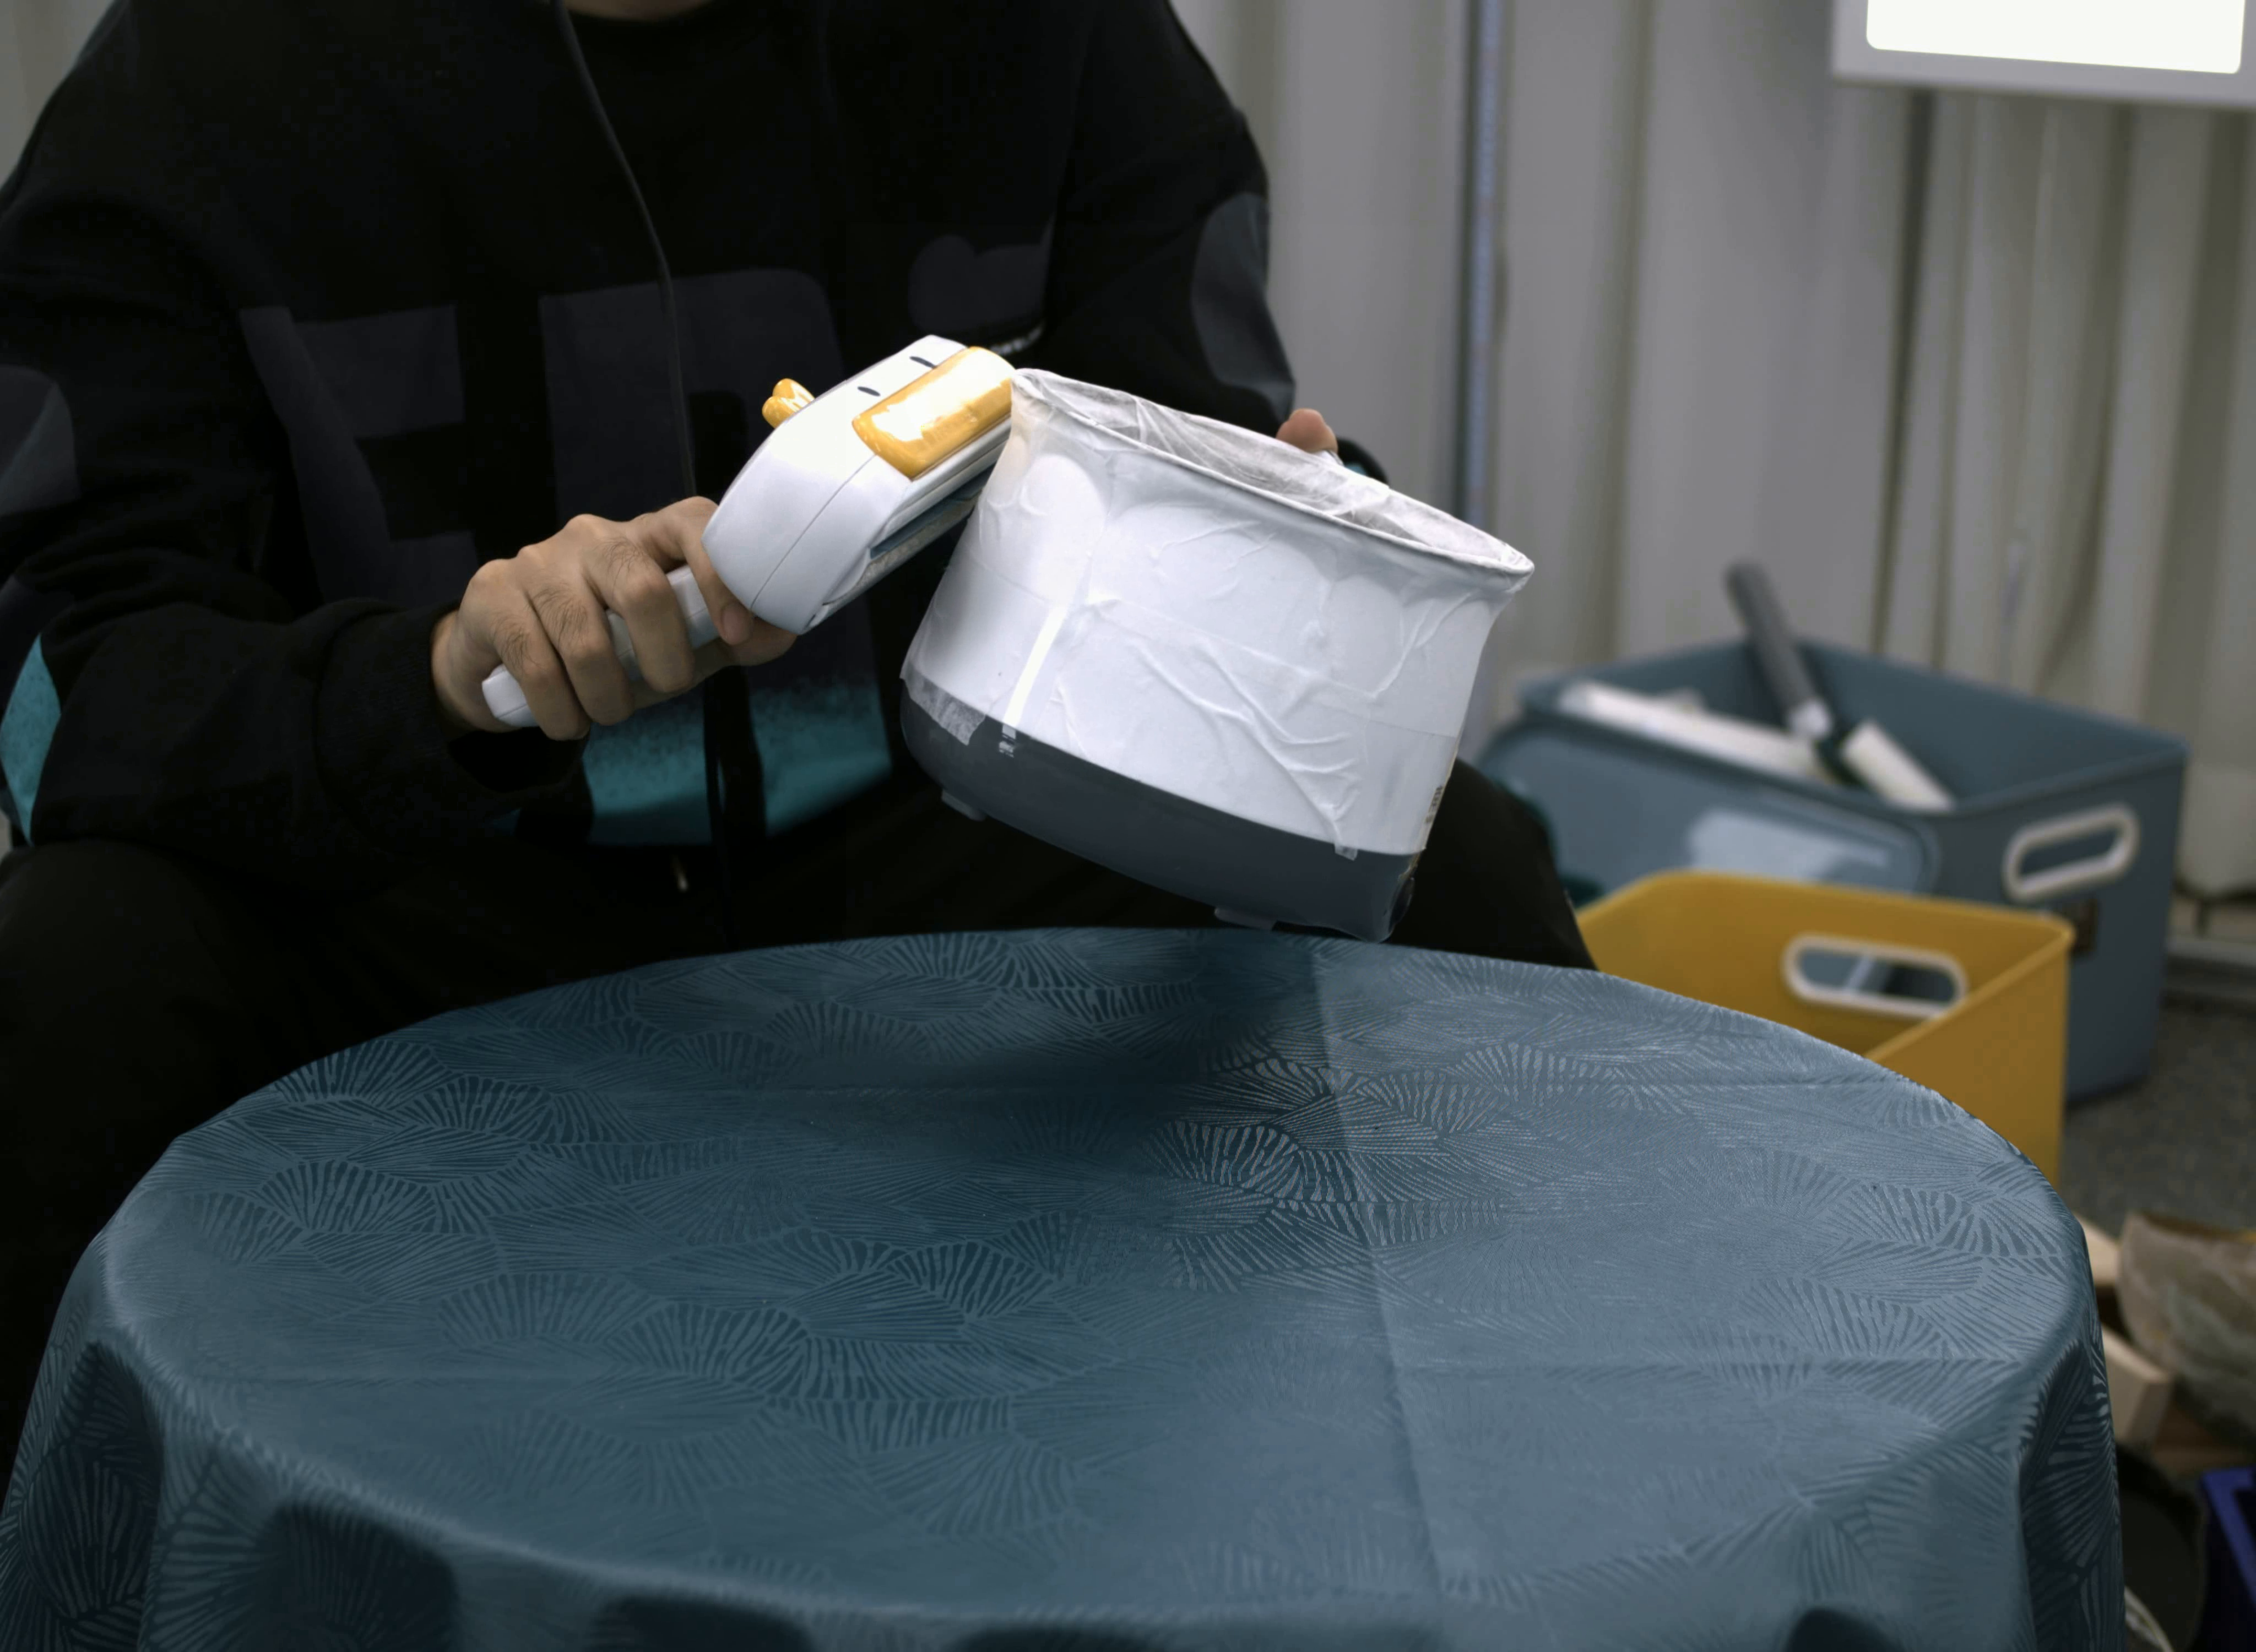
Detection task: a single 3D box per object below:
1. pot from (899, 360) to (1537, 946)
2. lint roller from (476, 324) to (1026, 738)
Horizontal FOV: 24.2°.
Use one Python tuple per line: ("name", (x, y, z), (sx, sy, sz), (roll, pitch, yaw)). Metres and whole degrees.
("pot", (0.029, -0.058, 1.699), (0.178, 0.137, 0.234), (23, 10, 7))
("lint roller", (-0.127, -0.082, 1.701), (0.192, 0.074, 0.192), (-42, 6, 17))
